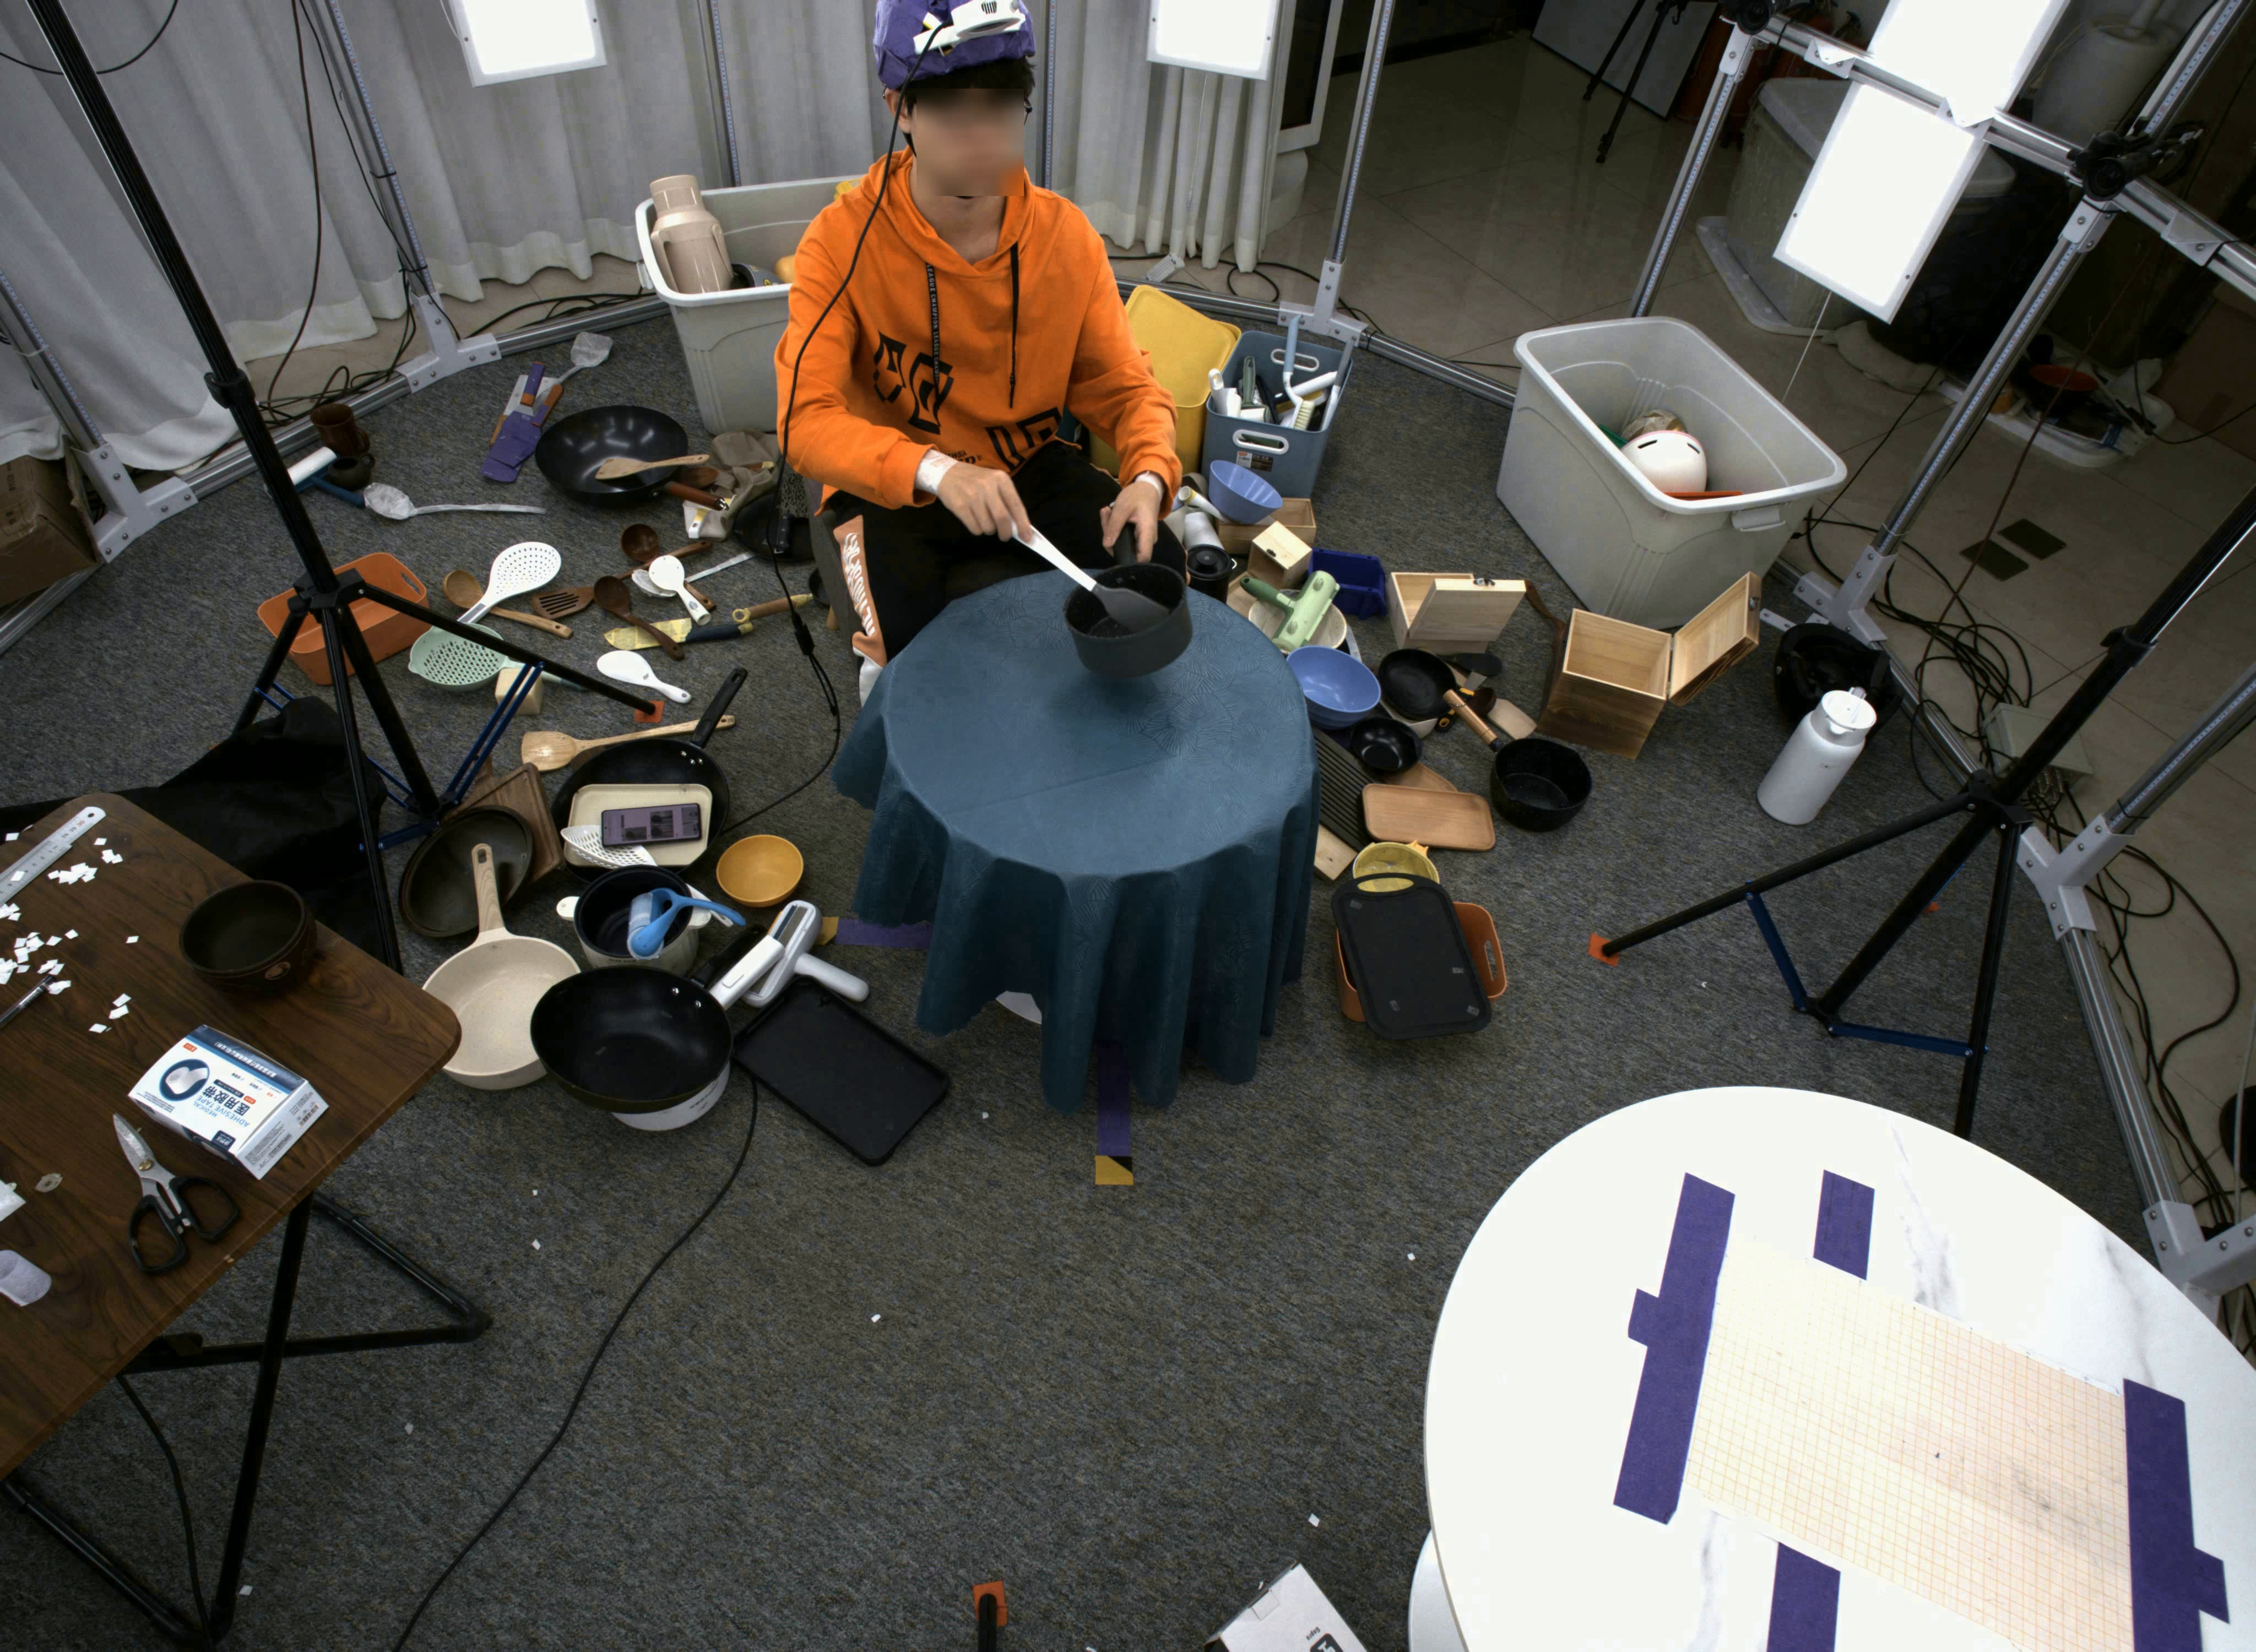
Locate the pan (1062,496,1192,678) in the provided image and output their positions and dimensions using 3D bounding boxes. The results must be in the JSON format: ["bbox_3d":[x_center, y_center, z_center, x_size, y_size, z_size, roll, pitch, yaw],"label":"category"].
[{"bbox_3d":[0.002,-0.341,1.818,0.172,0.084,0.337,-8,44,10],"label":"pan"}]

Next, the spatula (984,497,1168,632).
[{"bbox_3d":[-0.069,-0.345,1.736,0.287,0.058,0.032,36,19,1],"label":"spatula"}]
